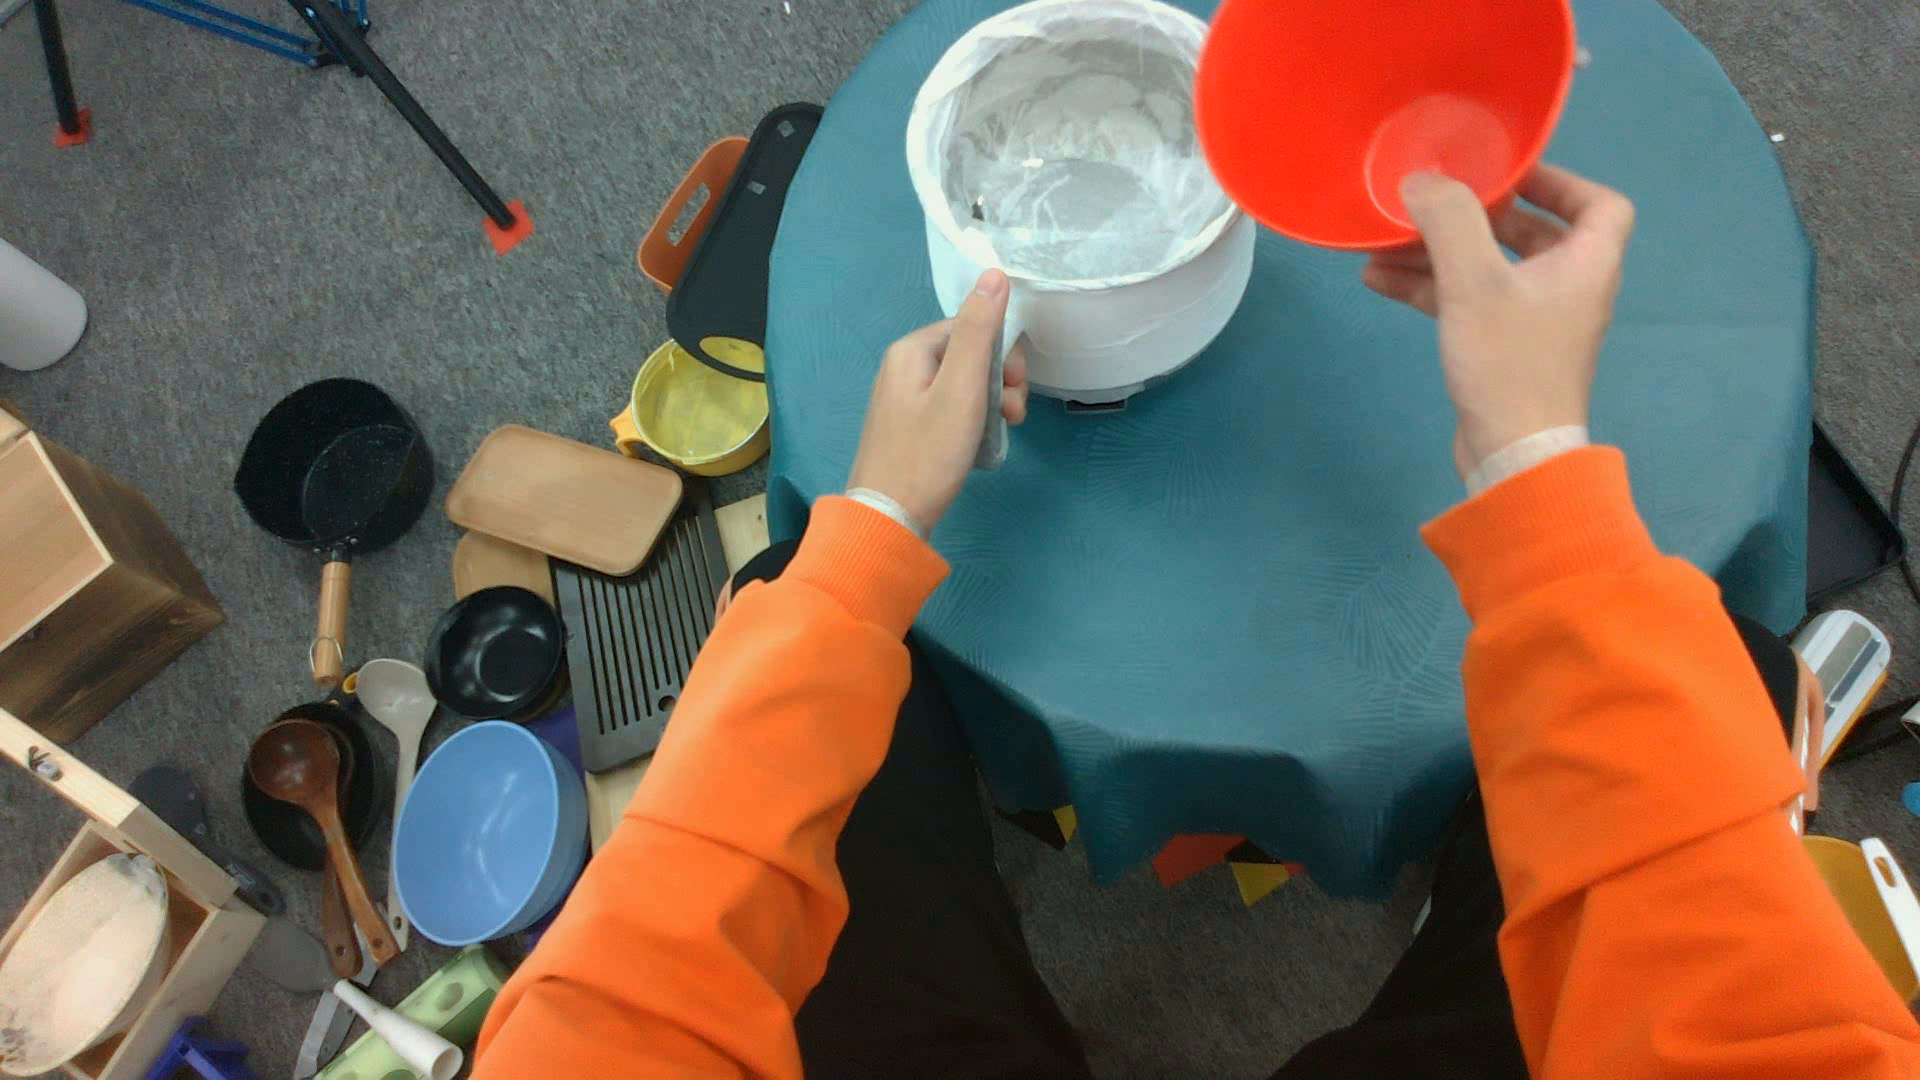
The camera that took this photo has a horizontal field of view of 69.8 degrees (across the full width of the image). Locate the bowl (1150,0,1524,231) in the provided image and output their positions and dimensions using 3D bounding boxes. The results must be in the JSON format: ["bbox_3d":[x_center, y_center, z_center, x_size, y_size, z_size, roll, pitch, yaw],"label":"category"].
[{"bbox_3d":[0.170,-0.197,0.592,0.147,0.105,0.148,-3,84,31],"label":"bowl"}]

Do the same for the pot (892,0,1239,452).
[{"bbox_3d":[0.047,-0.161,0.720,0.178,0.136,0.234,24,72,14],"label":"pot"}]
